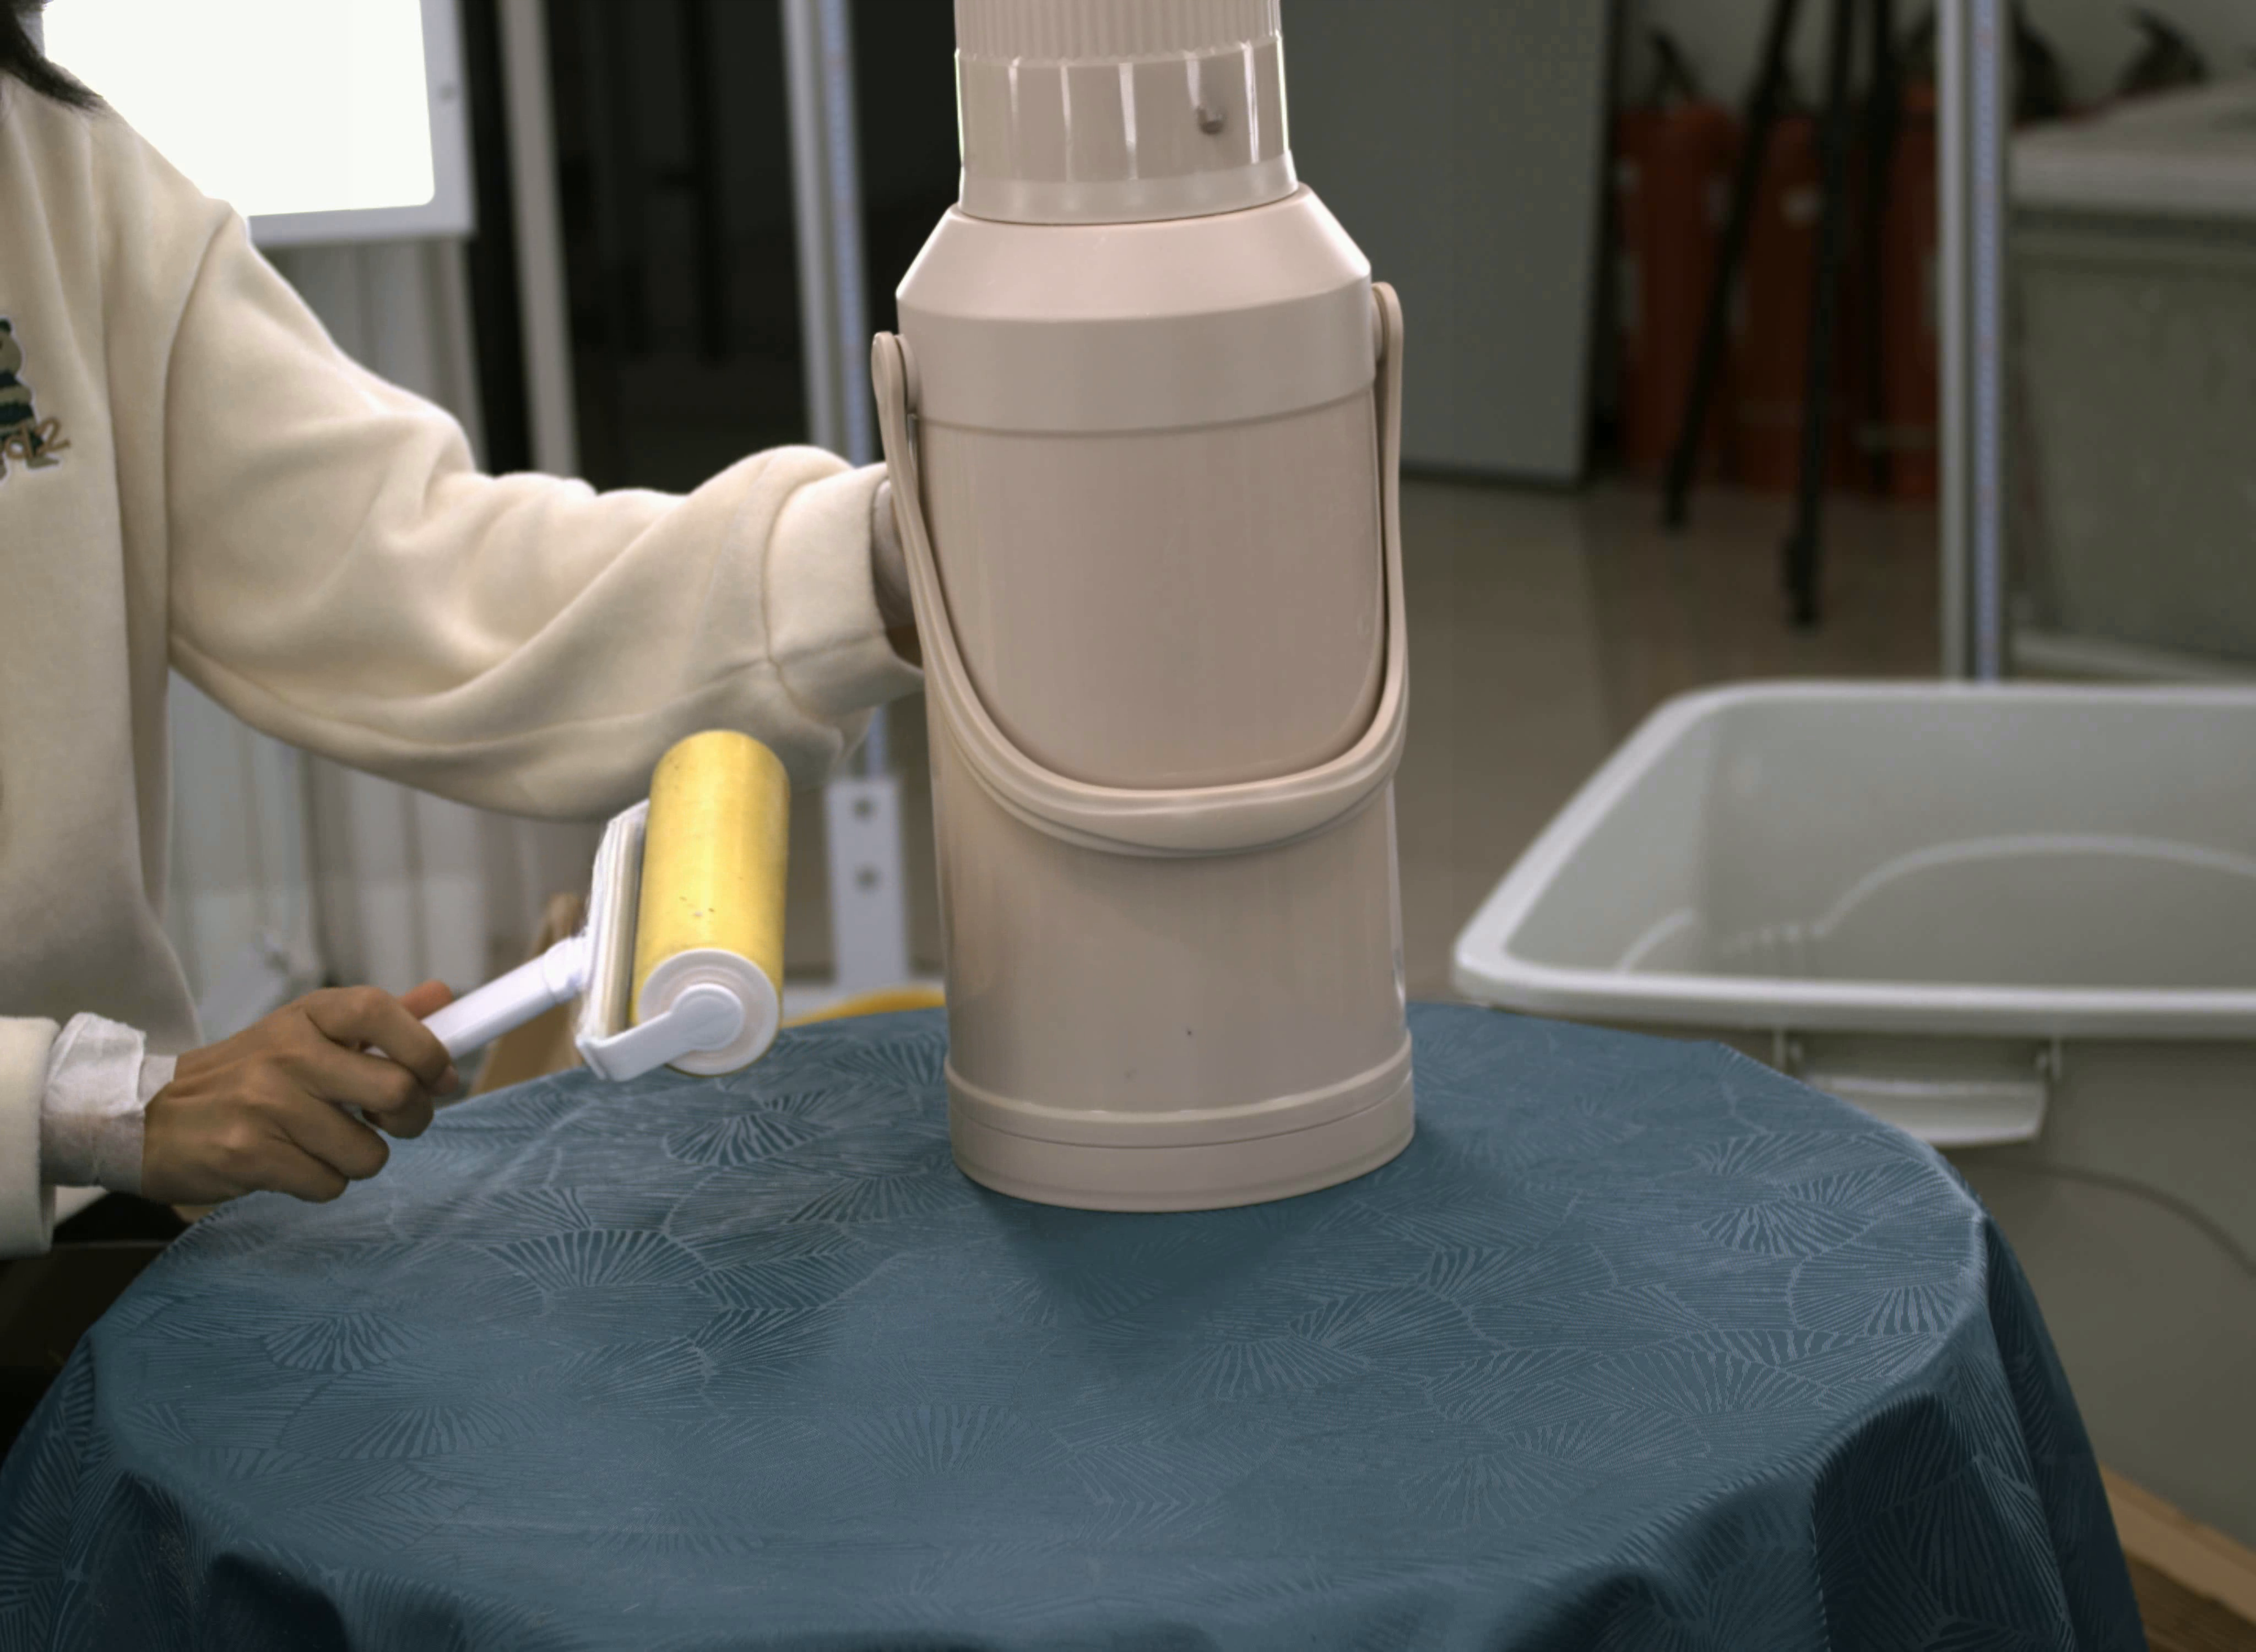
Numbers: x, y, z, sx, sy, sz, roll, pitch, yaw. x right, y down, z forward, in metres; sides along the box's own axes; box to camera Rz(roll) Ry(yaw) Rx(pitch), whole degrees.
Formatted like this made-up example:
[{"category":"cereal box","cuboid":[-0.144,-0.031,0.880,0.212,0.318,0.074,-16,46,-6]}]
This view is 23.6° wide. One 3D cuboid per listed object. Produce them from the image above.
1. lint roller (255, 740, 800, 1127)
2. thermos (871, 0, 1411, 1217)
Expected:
[{"category":"lint roller","cuboid":[-0.197,0.047,1.747,0.190,0.051,0.175,-16,24,4]},{"category":"thermos","cuboid":[0.005,-0.089,1.788,0.172,0.411,0.208,-7,13,-12]}]
